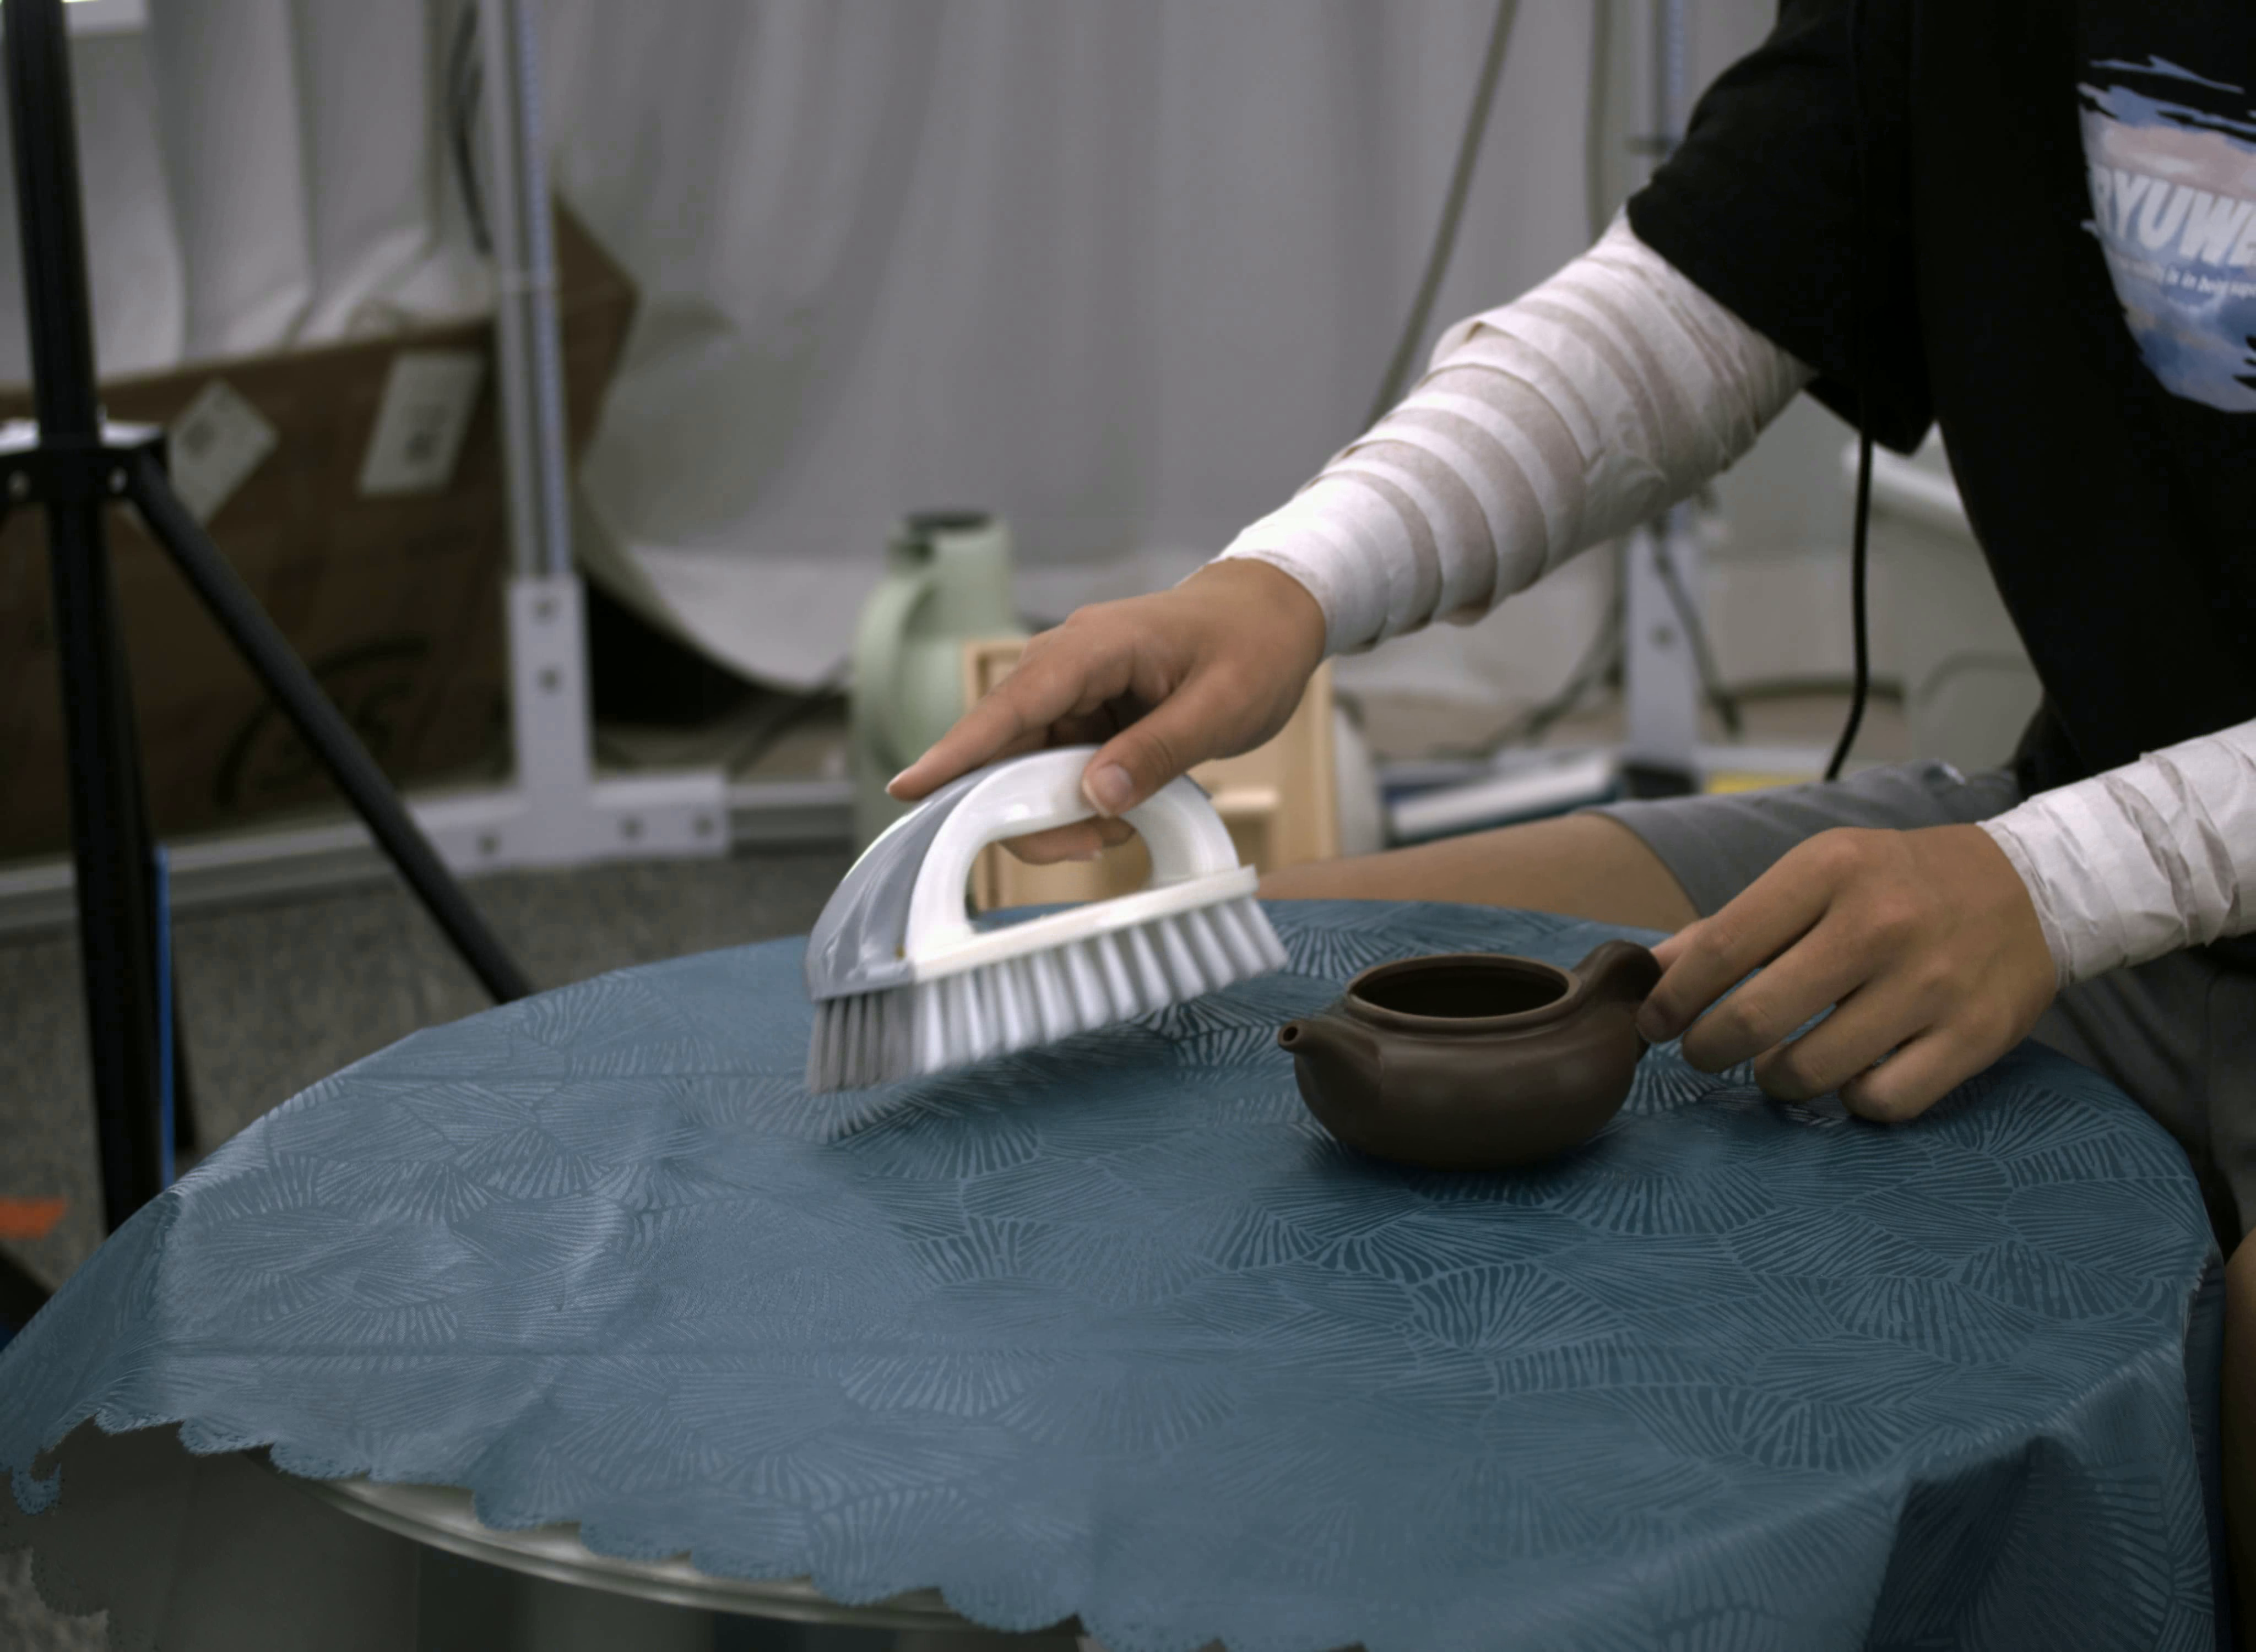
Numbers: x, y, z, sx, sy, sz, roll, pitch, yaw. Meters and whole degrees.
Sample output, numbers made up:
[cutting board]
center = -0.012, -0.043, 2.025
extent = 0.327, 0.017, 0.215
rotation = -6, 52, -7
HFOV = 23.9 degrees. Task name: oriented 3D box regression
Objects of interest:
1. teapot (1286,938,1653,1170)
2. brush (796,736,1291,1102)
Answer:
[teapot]
center = 0.103, 0.067, 1.588
extent = 0.150, 0.054, 0.105
rotation = -17, 23, -42
[brush]
center = -0.036, 0.026, 1.664
extent = 0.171, 0.094, 0.062
rotation = -16, -1, -34
